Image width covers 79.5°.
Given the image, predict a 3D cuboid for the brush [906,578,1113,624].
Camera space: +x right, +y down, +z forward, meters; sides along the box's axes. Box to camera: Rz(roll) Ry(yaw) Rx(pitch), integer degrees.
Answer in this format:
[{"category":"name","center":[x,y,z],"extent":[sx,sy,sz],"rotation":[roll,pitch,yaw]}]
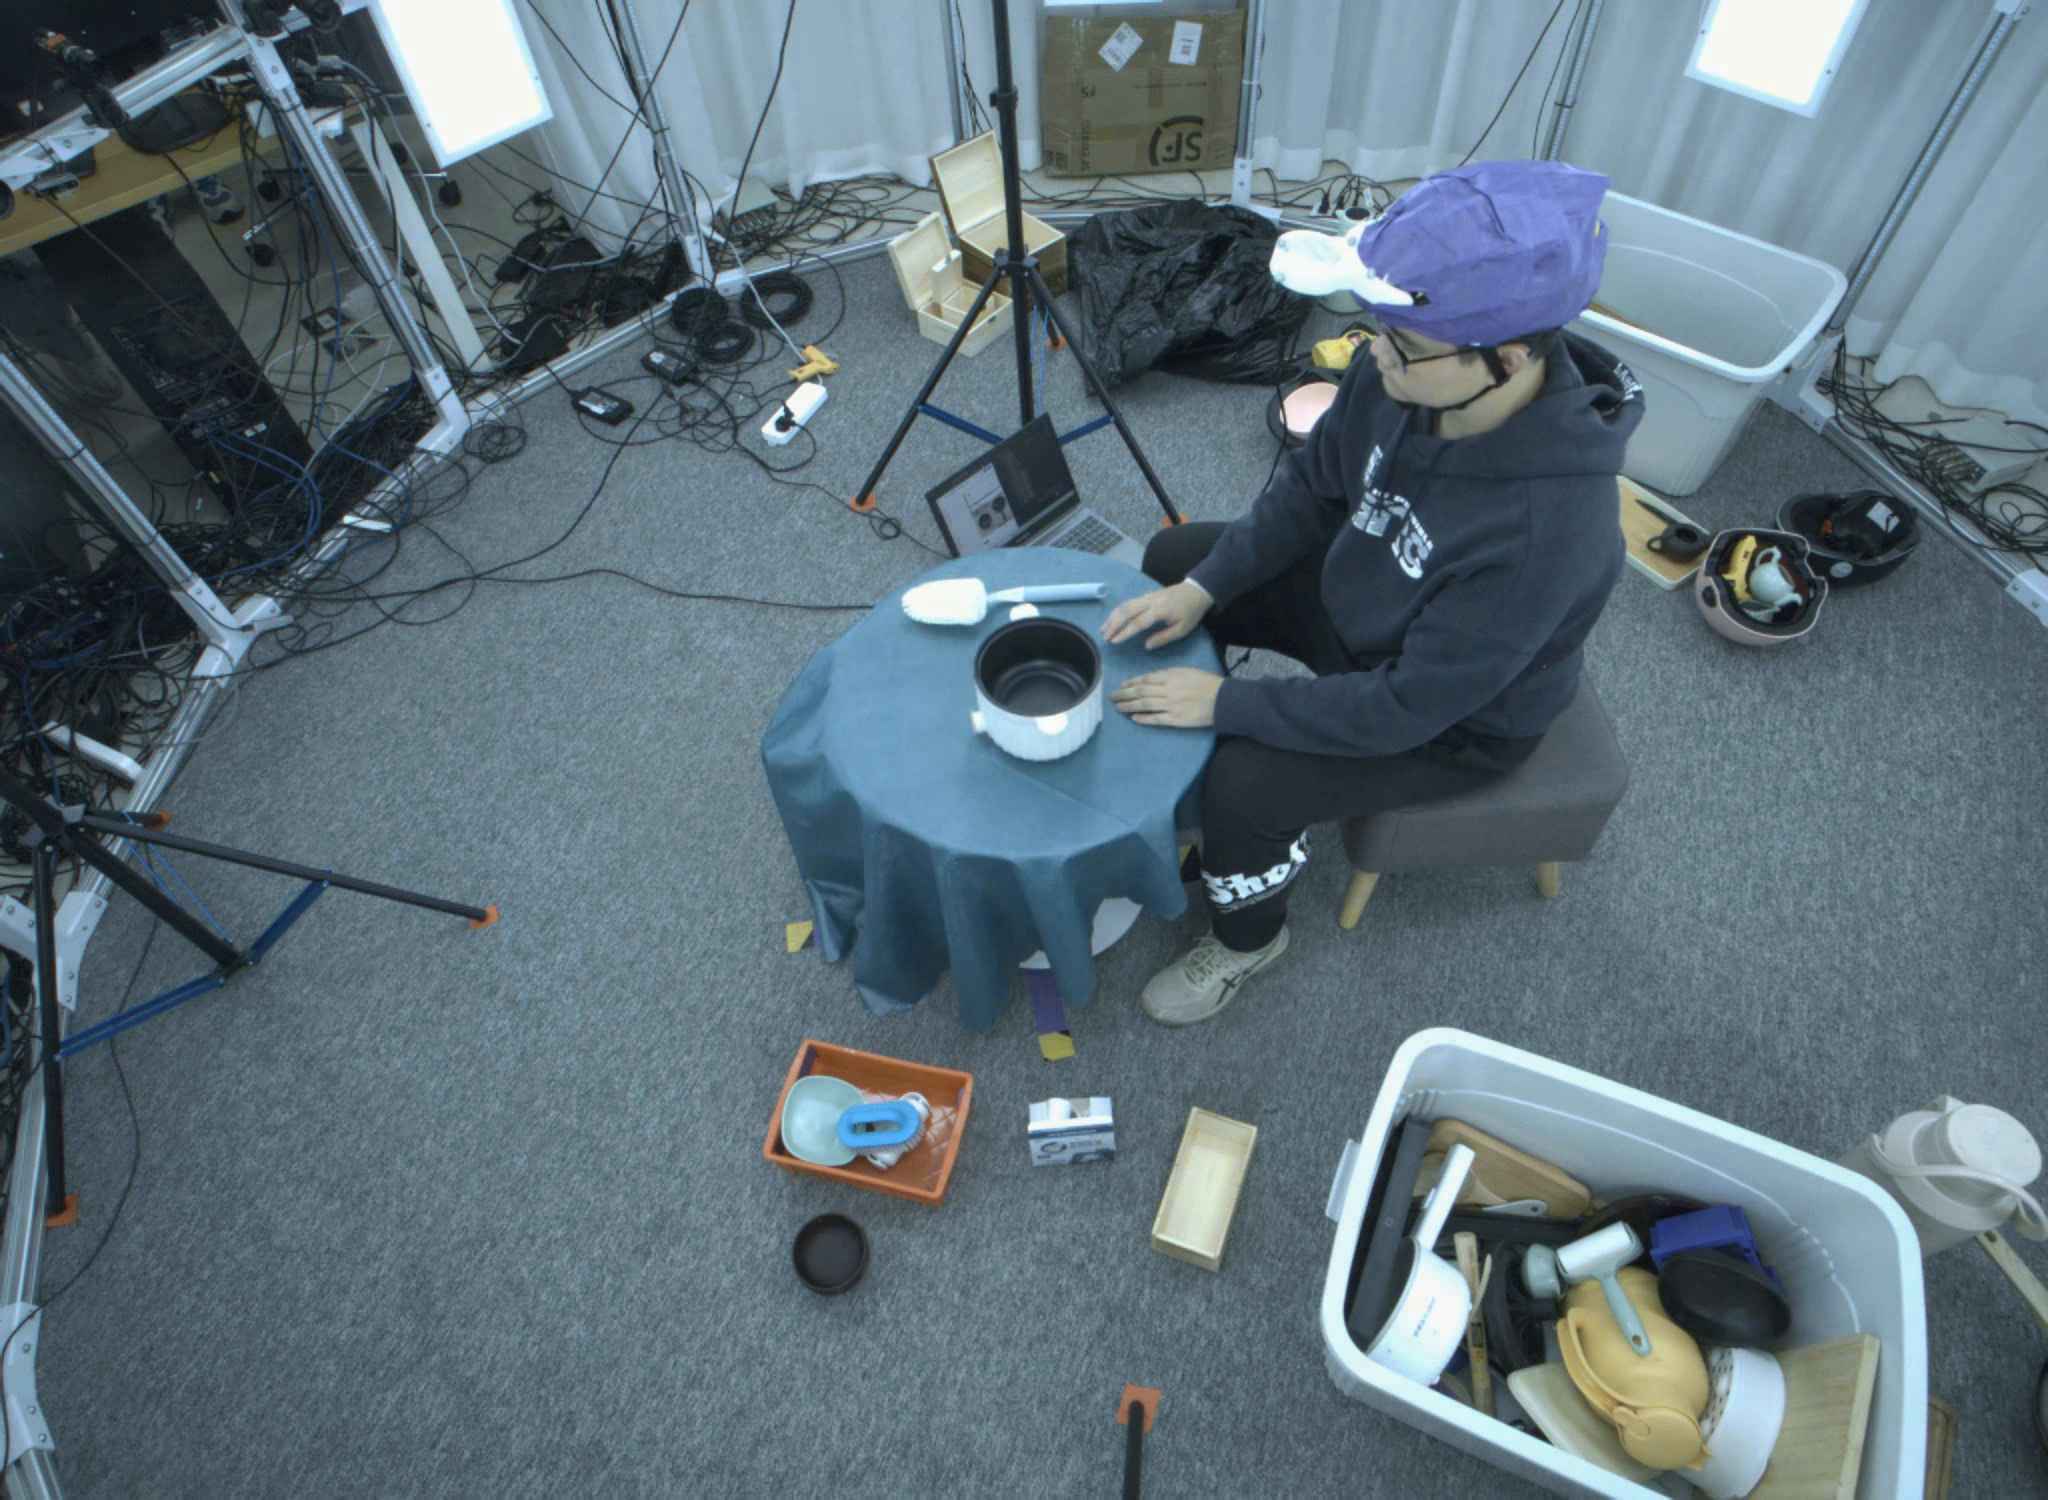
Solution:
[{"category":"brush","center":[-0.023,-0.242,1.908],"extent":[0.325,0.084,0.083],"rotation":[-4,51,0]}]

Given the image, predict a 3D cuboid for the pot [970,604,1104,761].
[{"category":"pot","center":[0.017,-0.078,1.757],"extent":[0.192,0.144,0.237],"rotation":[-9,54,-8]}]
